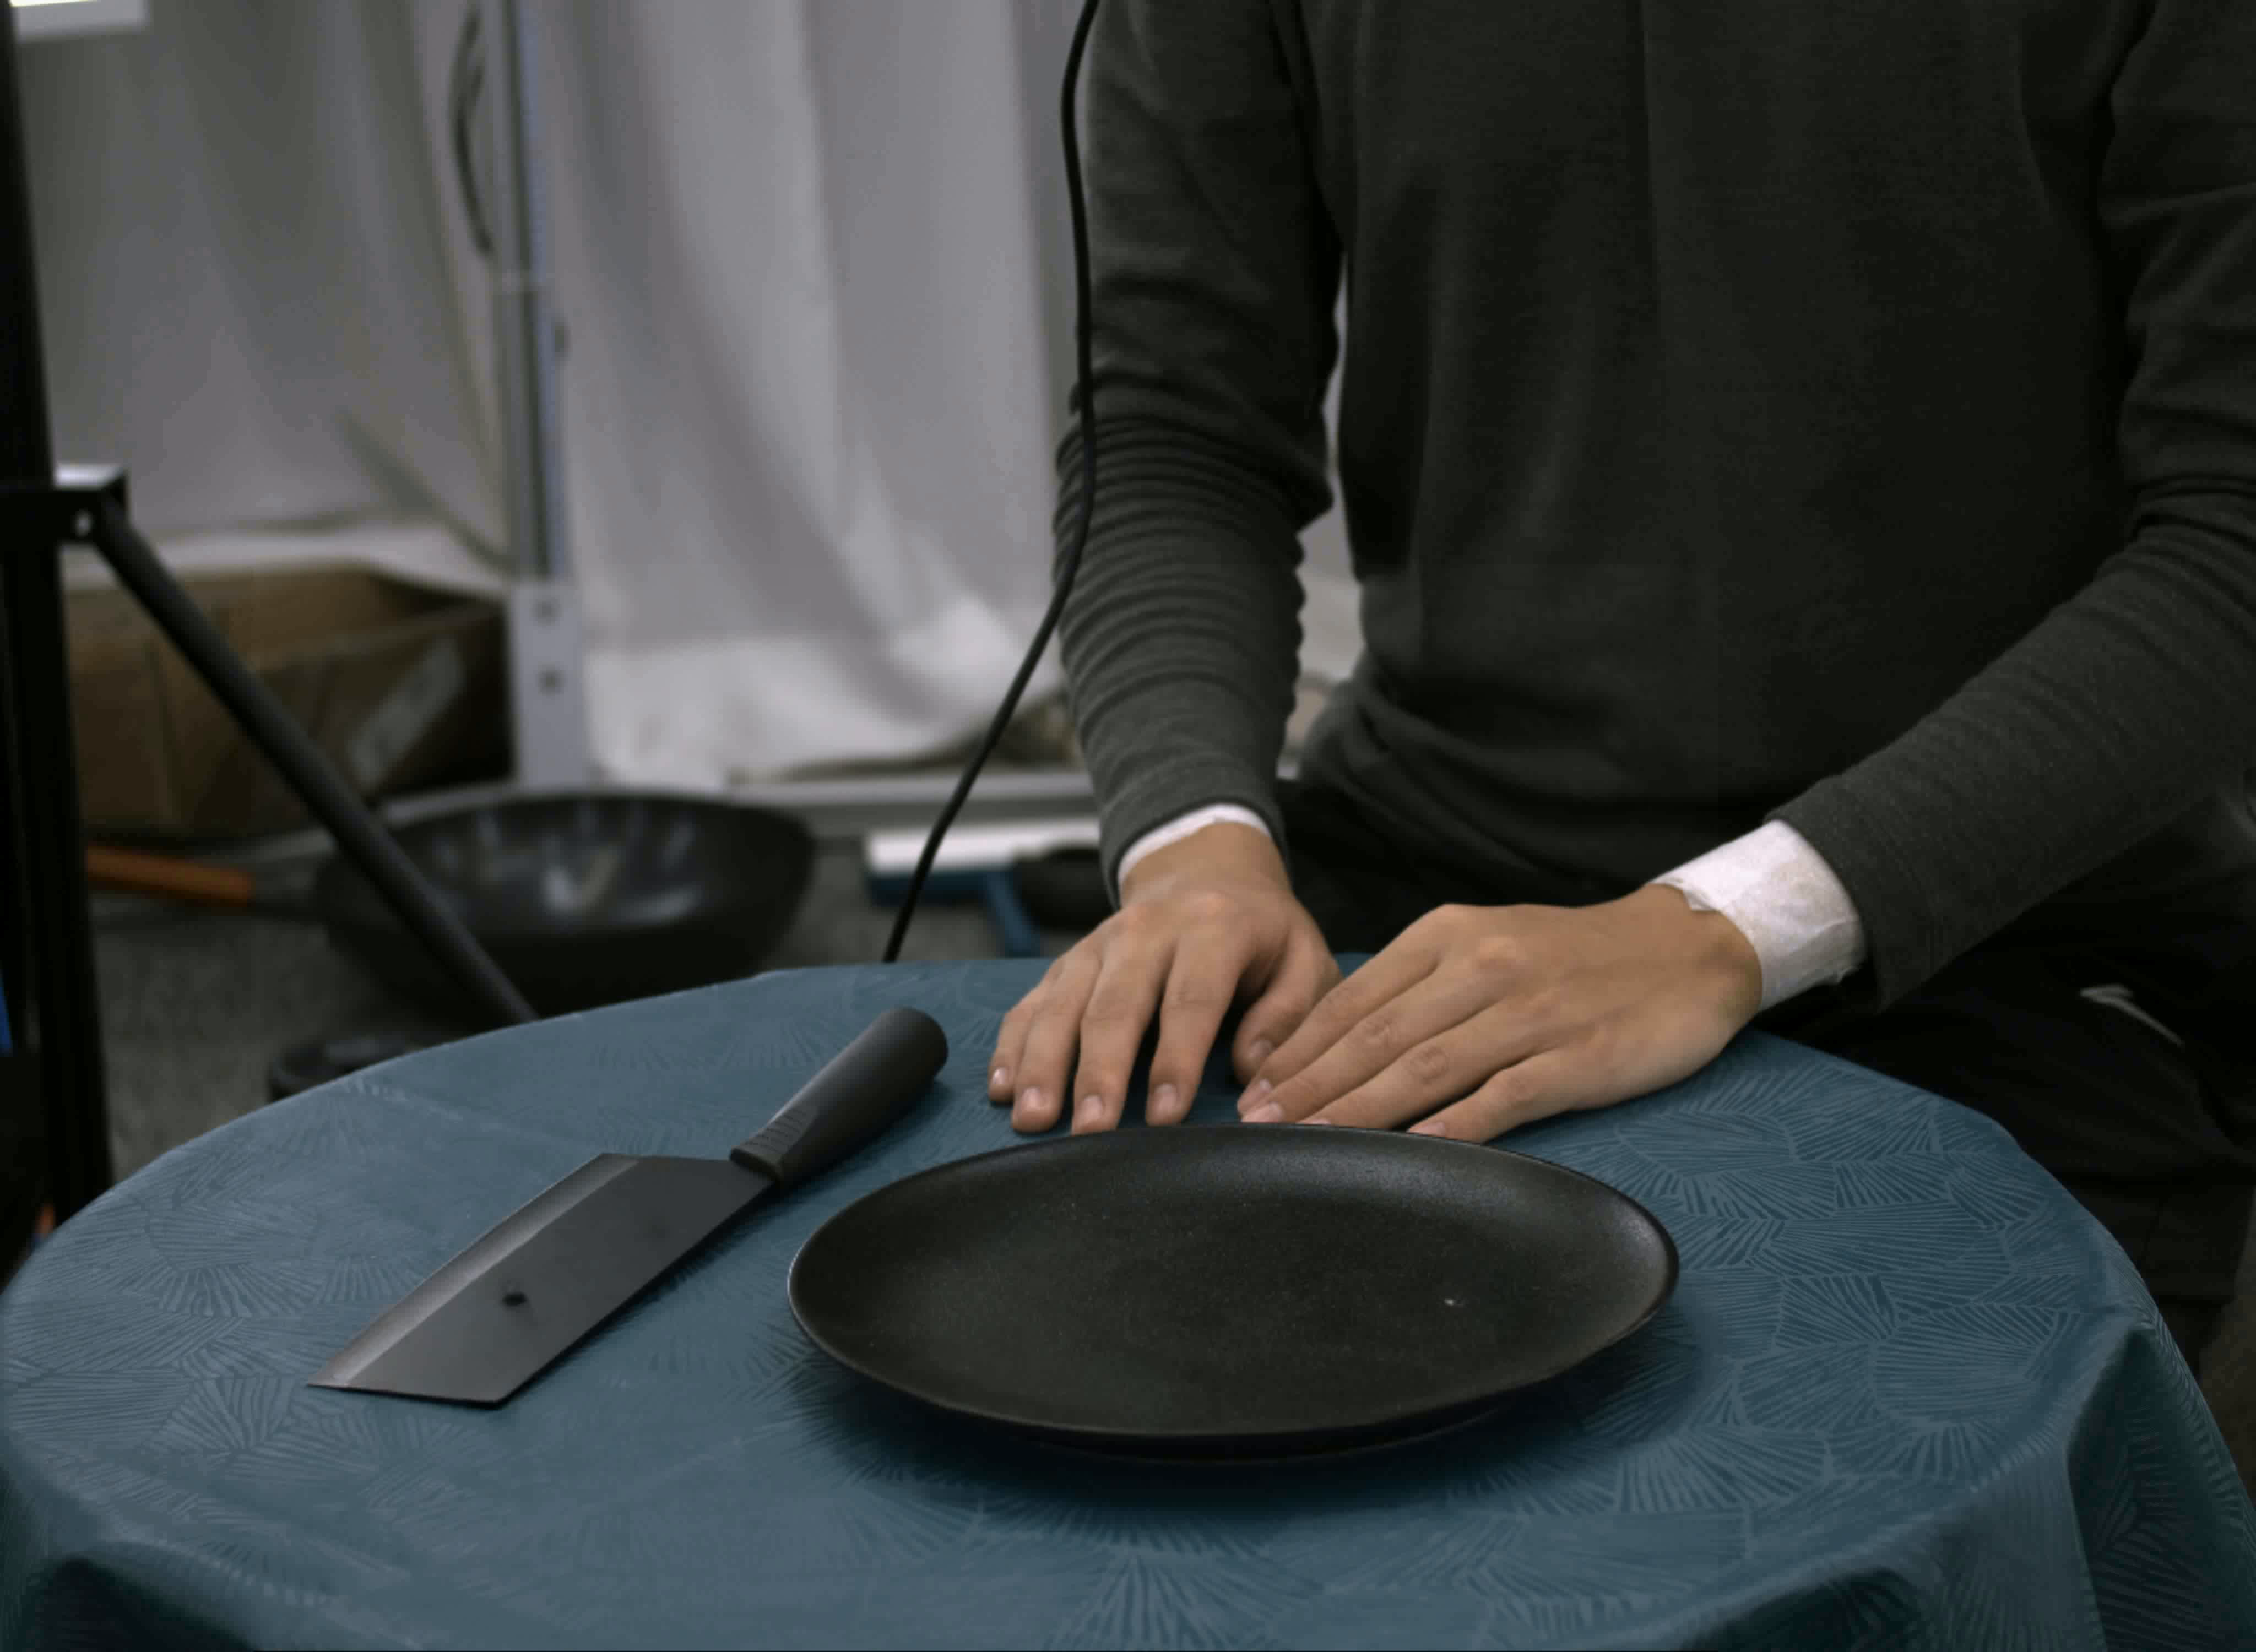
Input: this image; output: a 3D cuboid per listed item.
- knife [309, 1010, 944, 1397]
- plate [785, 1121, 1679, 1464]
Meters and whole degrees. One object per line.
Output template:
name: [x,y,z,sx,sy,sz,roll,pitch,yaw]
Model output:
knife: [-0.136,0.109,1.557,0.082,0.021,0.297,5,19,27]
plate: [0.028,0.129,1.441,0.243,0.023,0.245,-3,16,-1]
